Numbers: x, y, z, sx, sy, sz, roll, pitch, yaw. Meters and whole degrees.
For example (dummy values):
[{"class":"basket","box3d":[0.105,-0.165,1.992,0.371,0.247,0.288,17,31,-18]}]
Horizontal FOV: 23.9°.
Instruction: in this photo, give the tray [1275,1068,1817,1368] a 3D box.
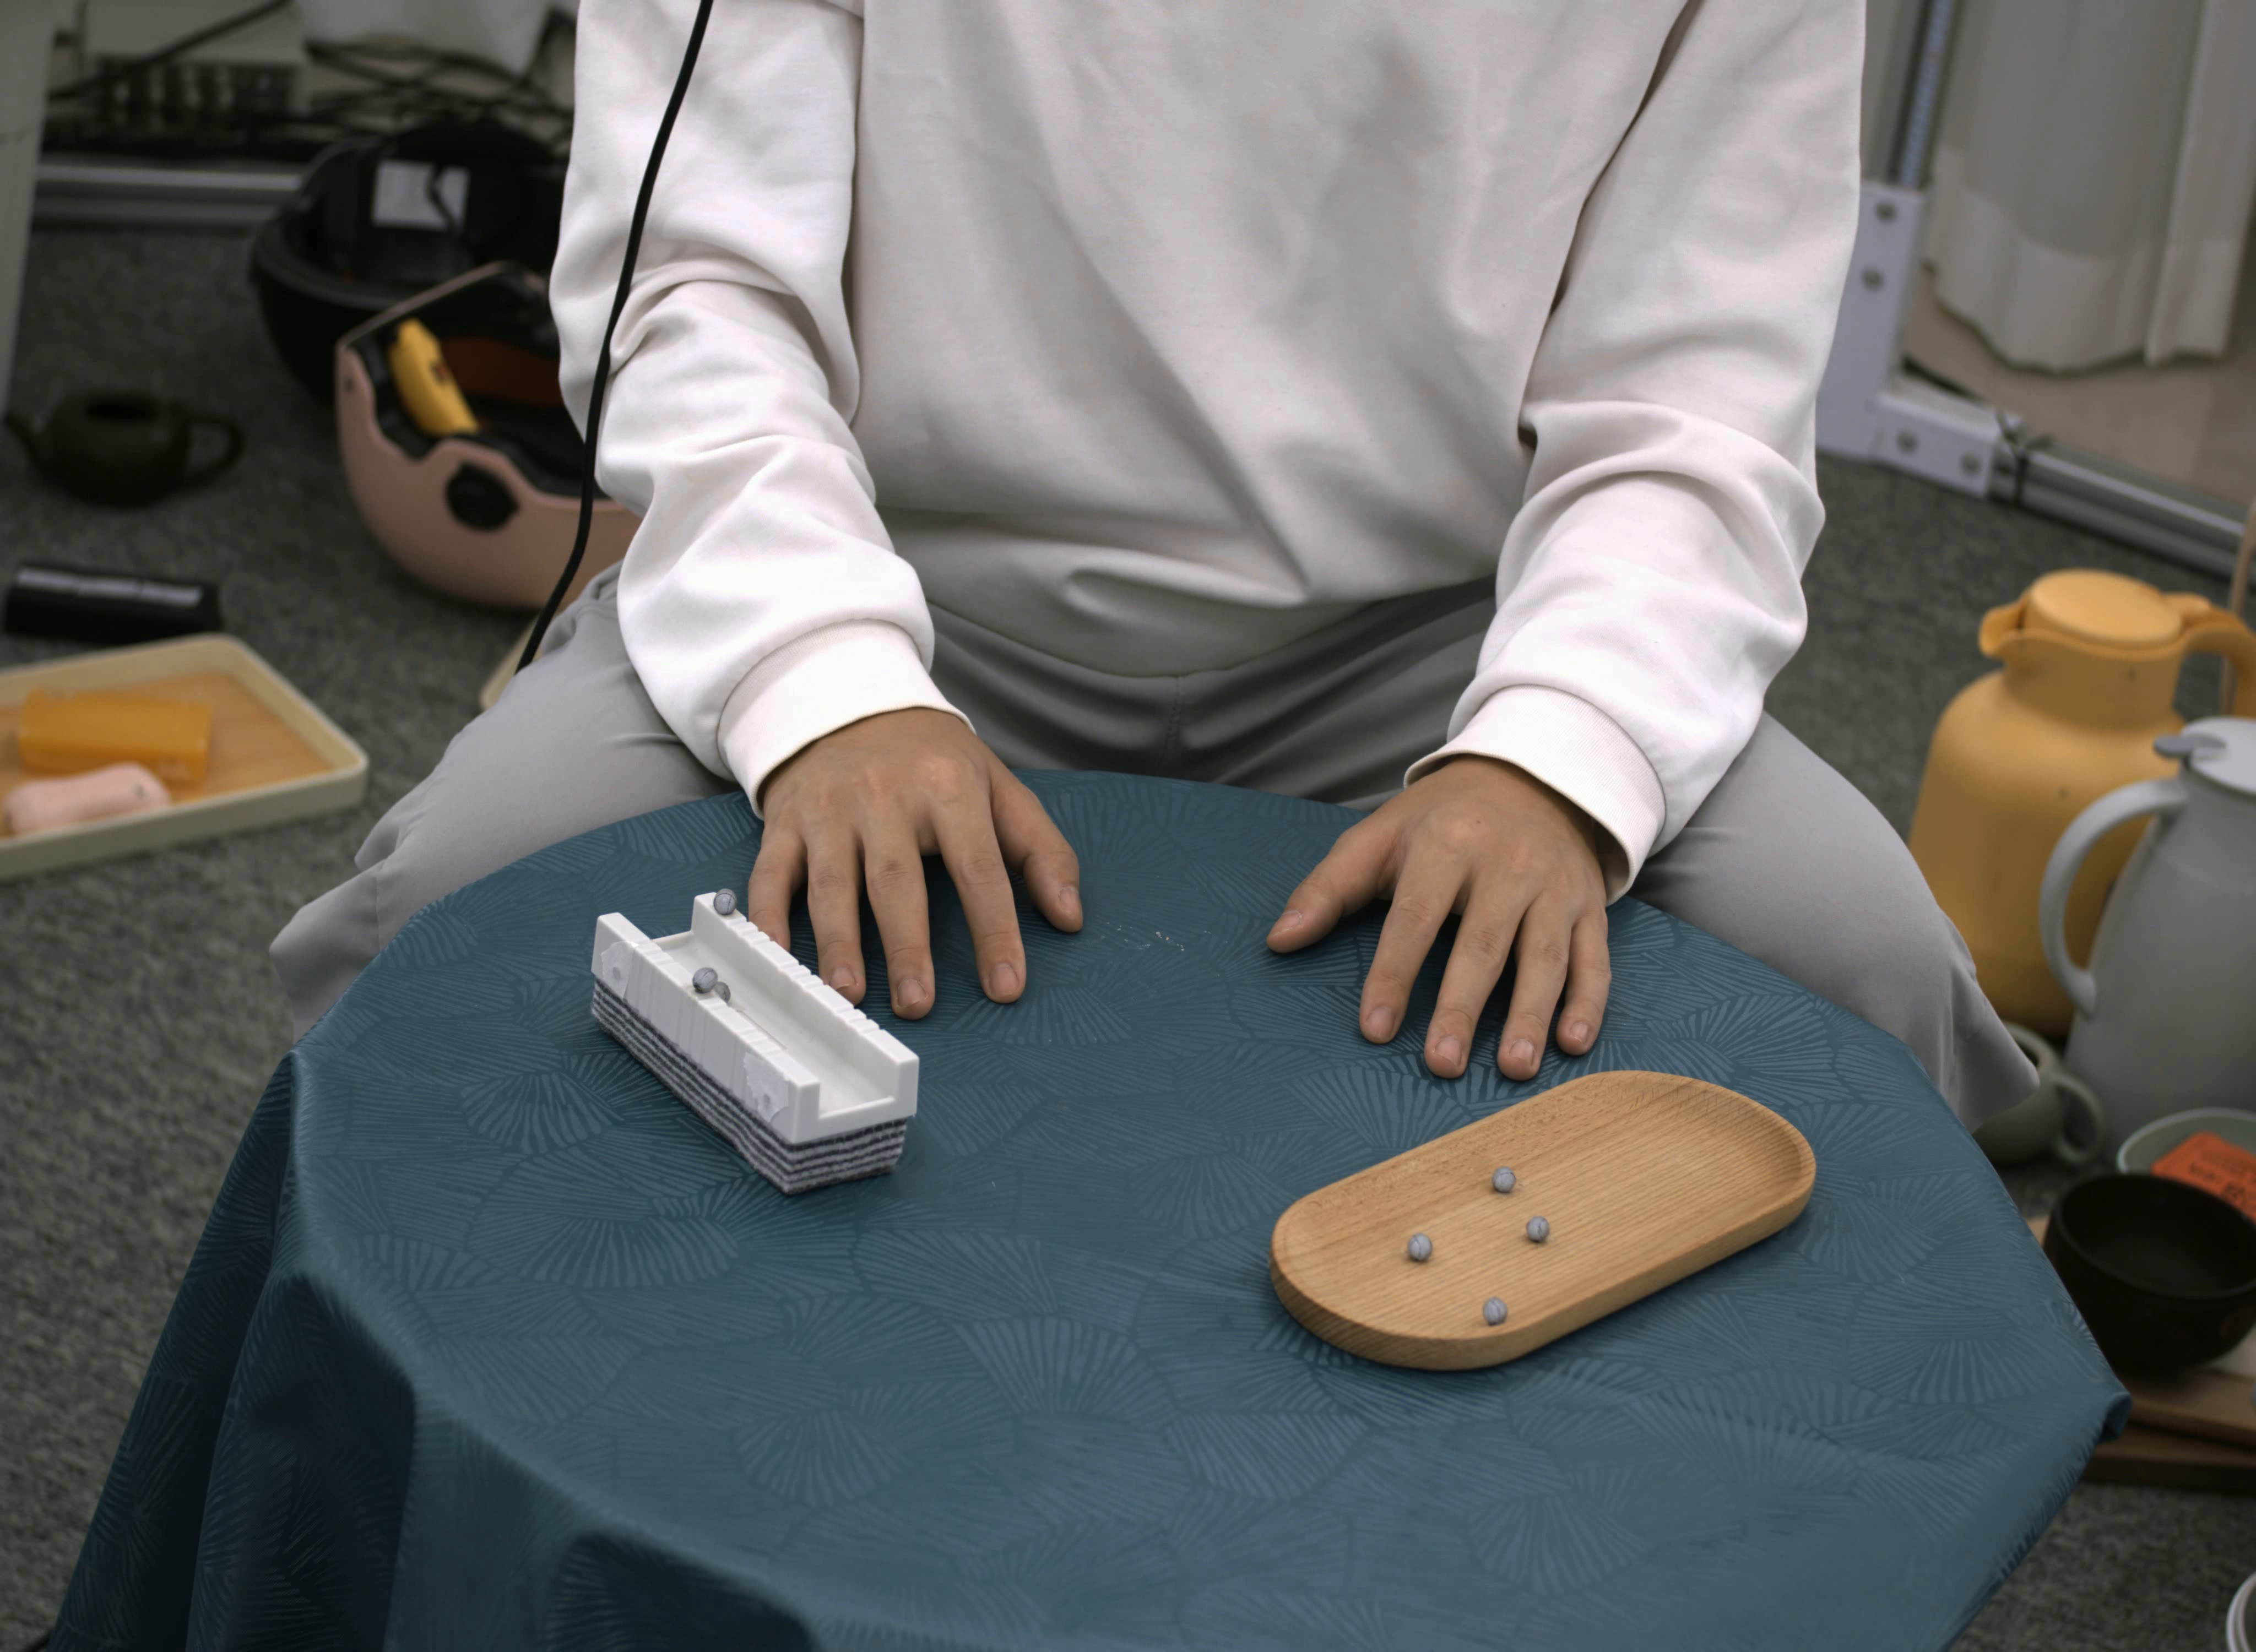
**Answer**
[{"class":"tray","box3d":[0.143,0.132,1.806,0.102,0.020,0.230,29,33,35]}]

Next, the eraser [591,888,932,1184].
[{"class":"eraser","box3d":[-0.128,0.072,1.825,0.049,0.046,0.135,-9,30,-39]}]
